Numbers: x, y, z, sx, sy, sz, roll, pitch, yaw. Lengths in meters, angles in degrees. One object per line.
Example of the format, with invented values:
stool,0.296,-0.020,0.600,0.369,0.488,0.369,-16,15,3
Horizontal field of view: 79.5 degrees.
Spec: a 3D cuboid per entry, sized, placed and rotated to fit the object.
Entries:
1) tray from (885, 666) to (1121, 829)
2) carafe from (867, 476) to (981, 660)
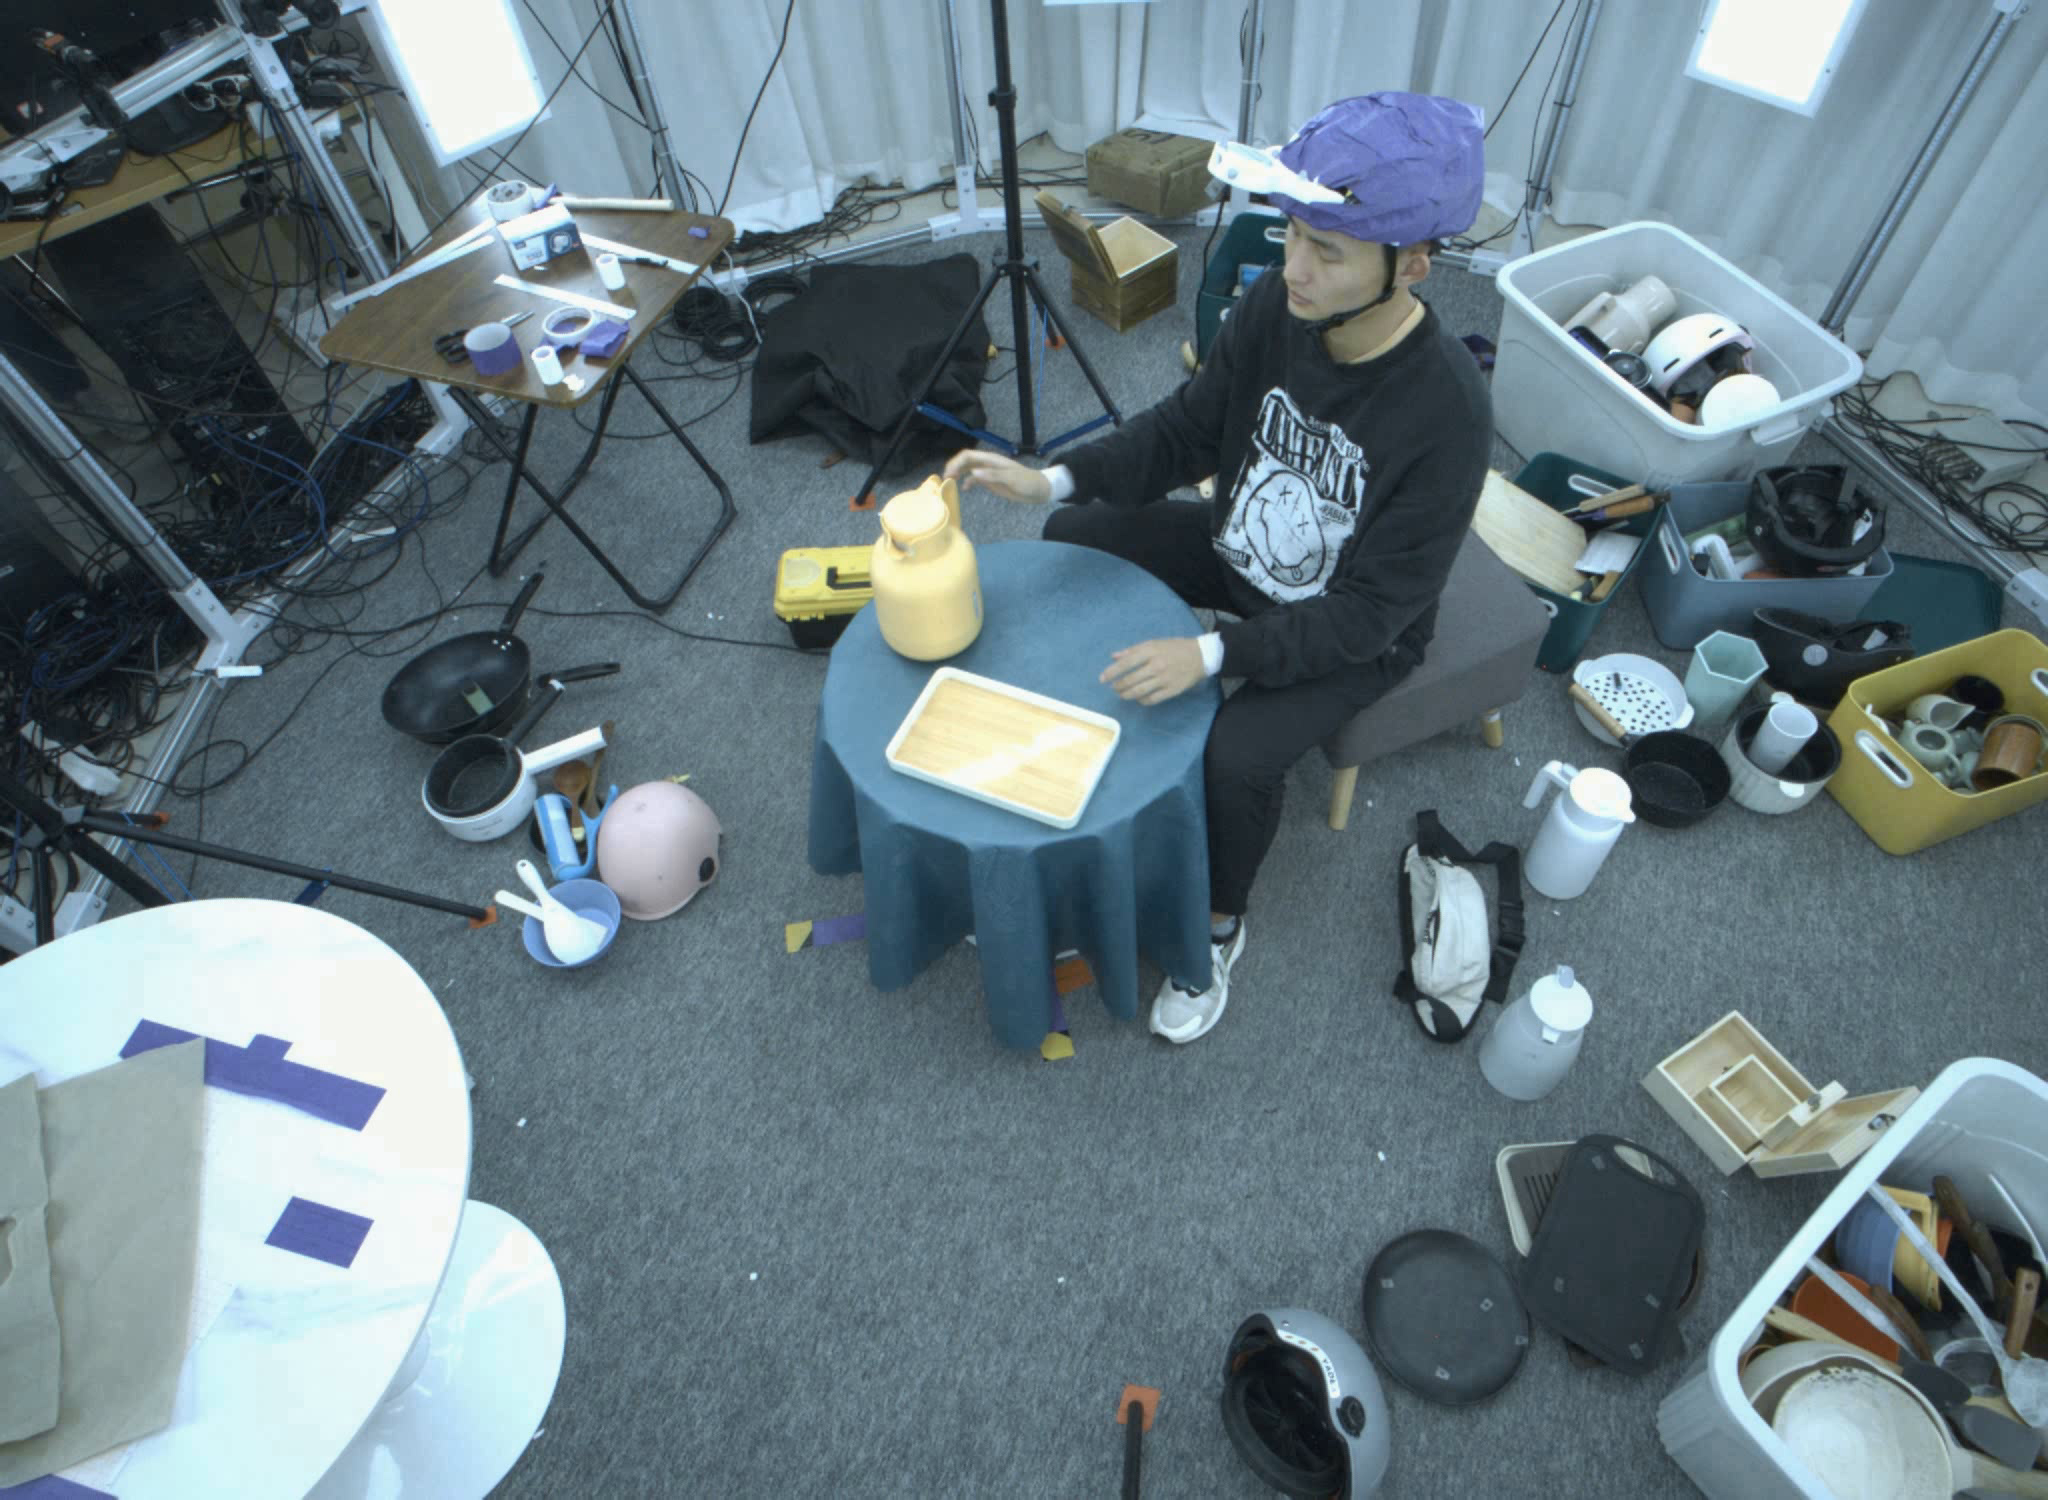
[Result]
tray,-0.029,-0.008,1.773,0.297,0.028,0.191,19,58,15
carafe,-0.143,-0.279,1.827,0.162,0.263,0.202,18,58,13
